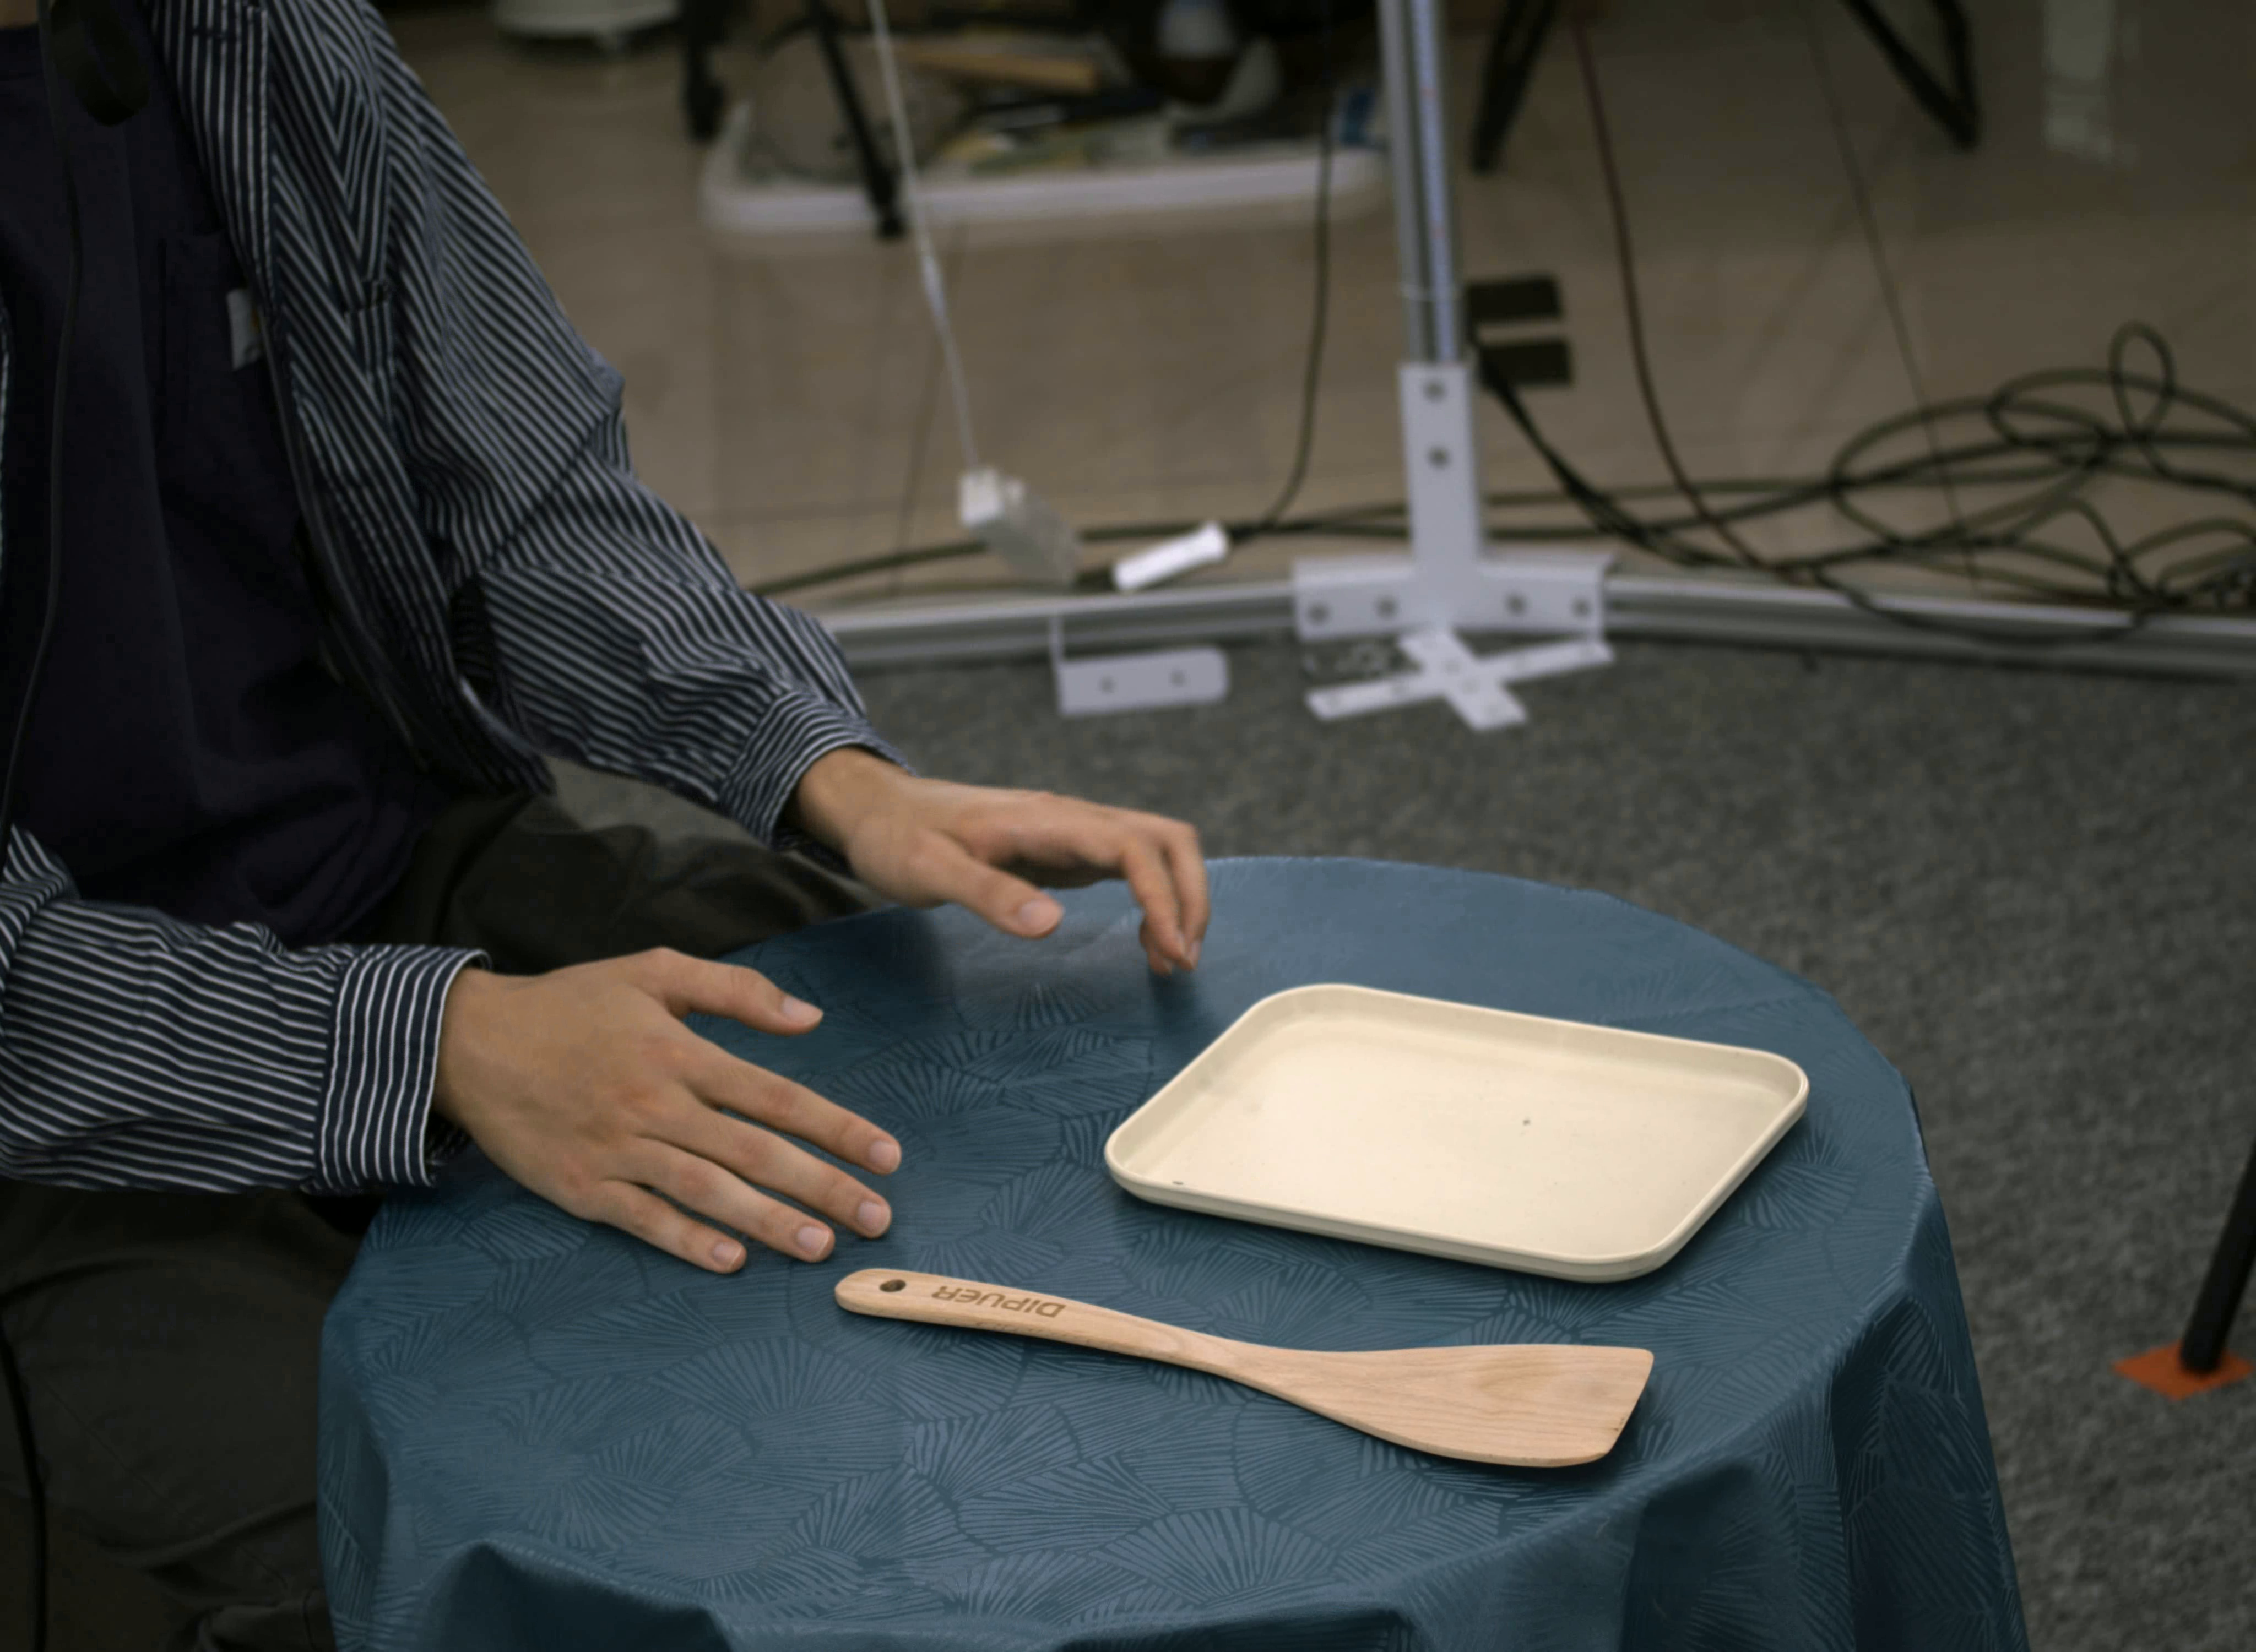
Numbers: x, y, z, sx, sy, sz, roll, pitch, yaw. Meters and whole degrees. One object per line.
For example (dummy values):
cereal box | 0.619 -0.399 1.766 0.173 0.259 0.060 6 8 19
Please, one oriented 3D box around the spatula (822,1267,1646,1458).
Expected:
spatula | 0.033 0.184 2.028 0.326 0.017 0.079 8 28 27

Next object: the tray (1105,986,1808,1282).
tray | 0.125 0.116 2.148 0.238 0.018 0.169 9 29 30
